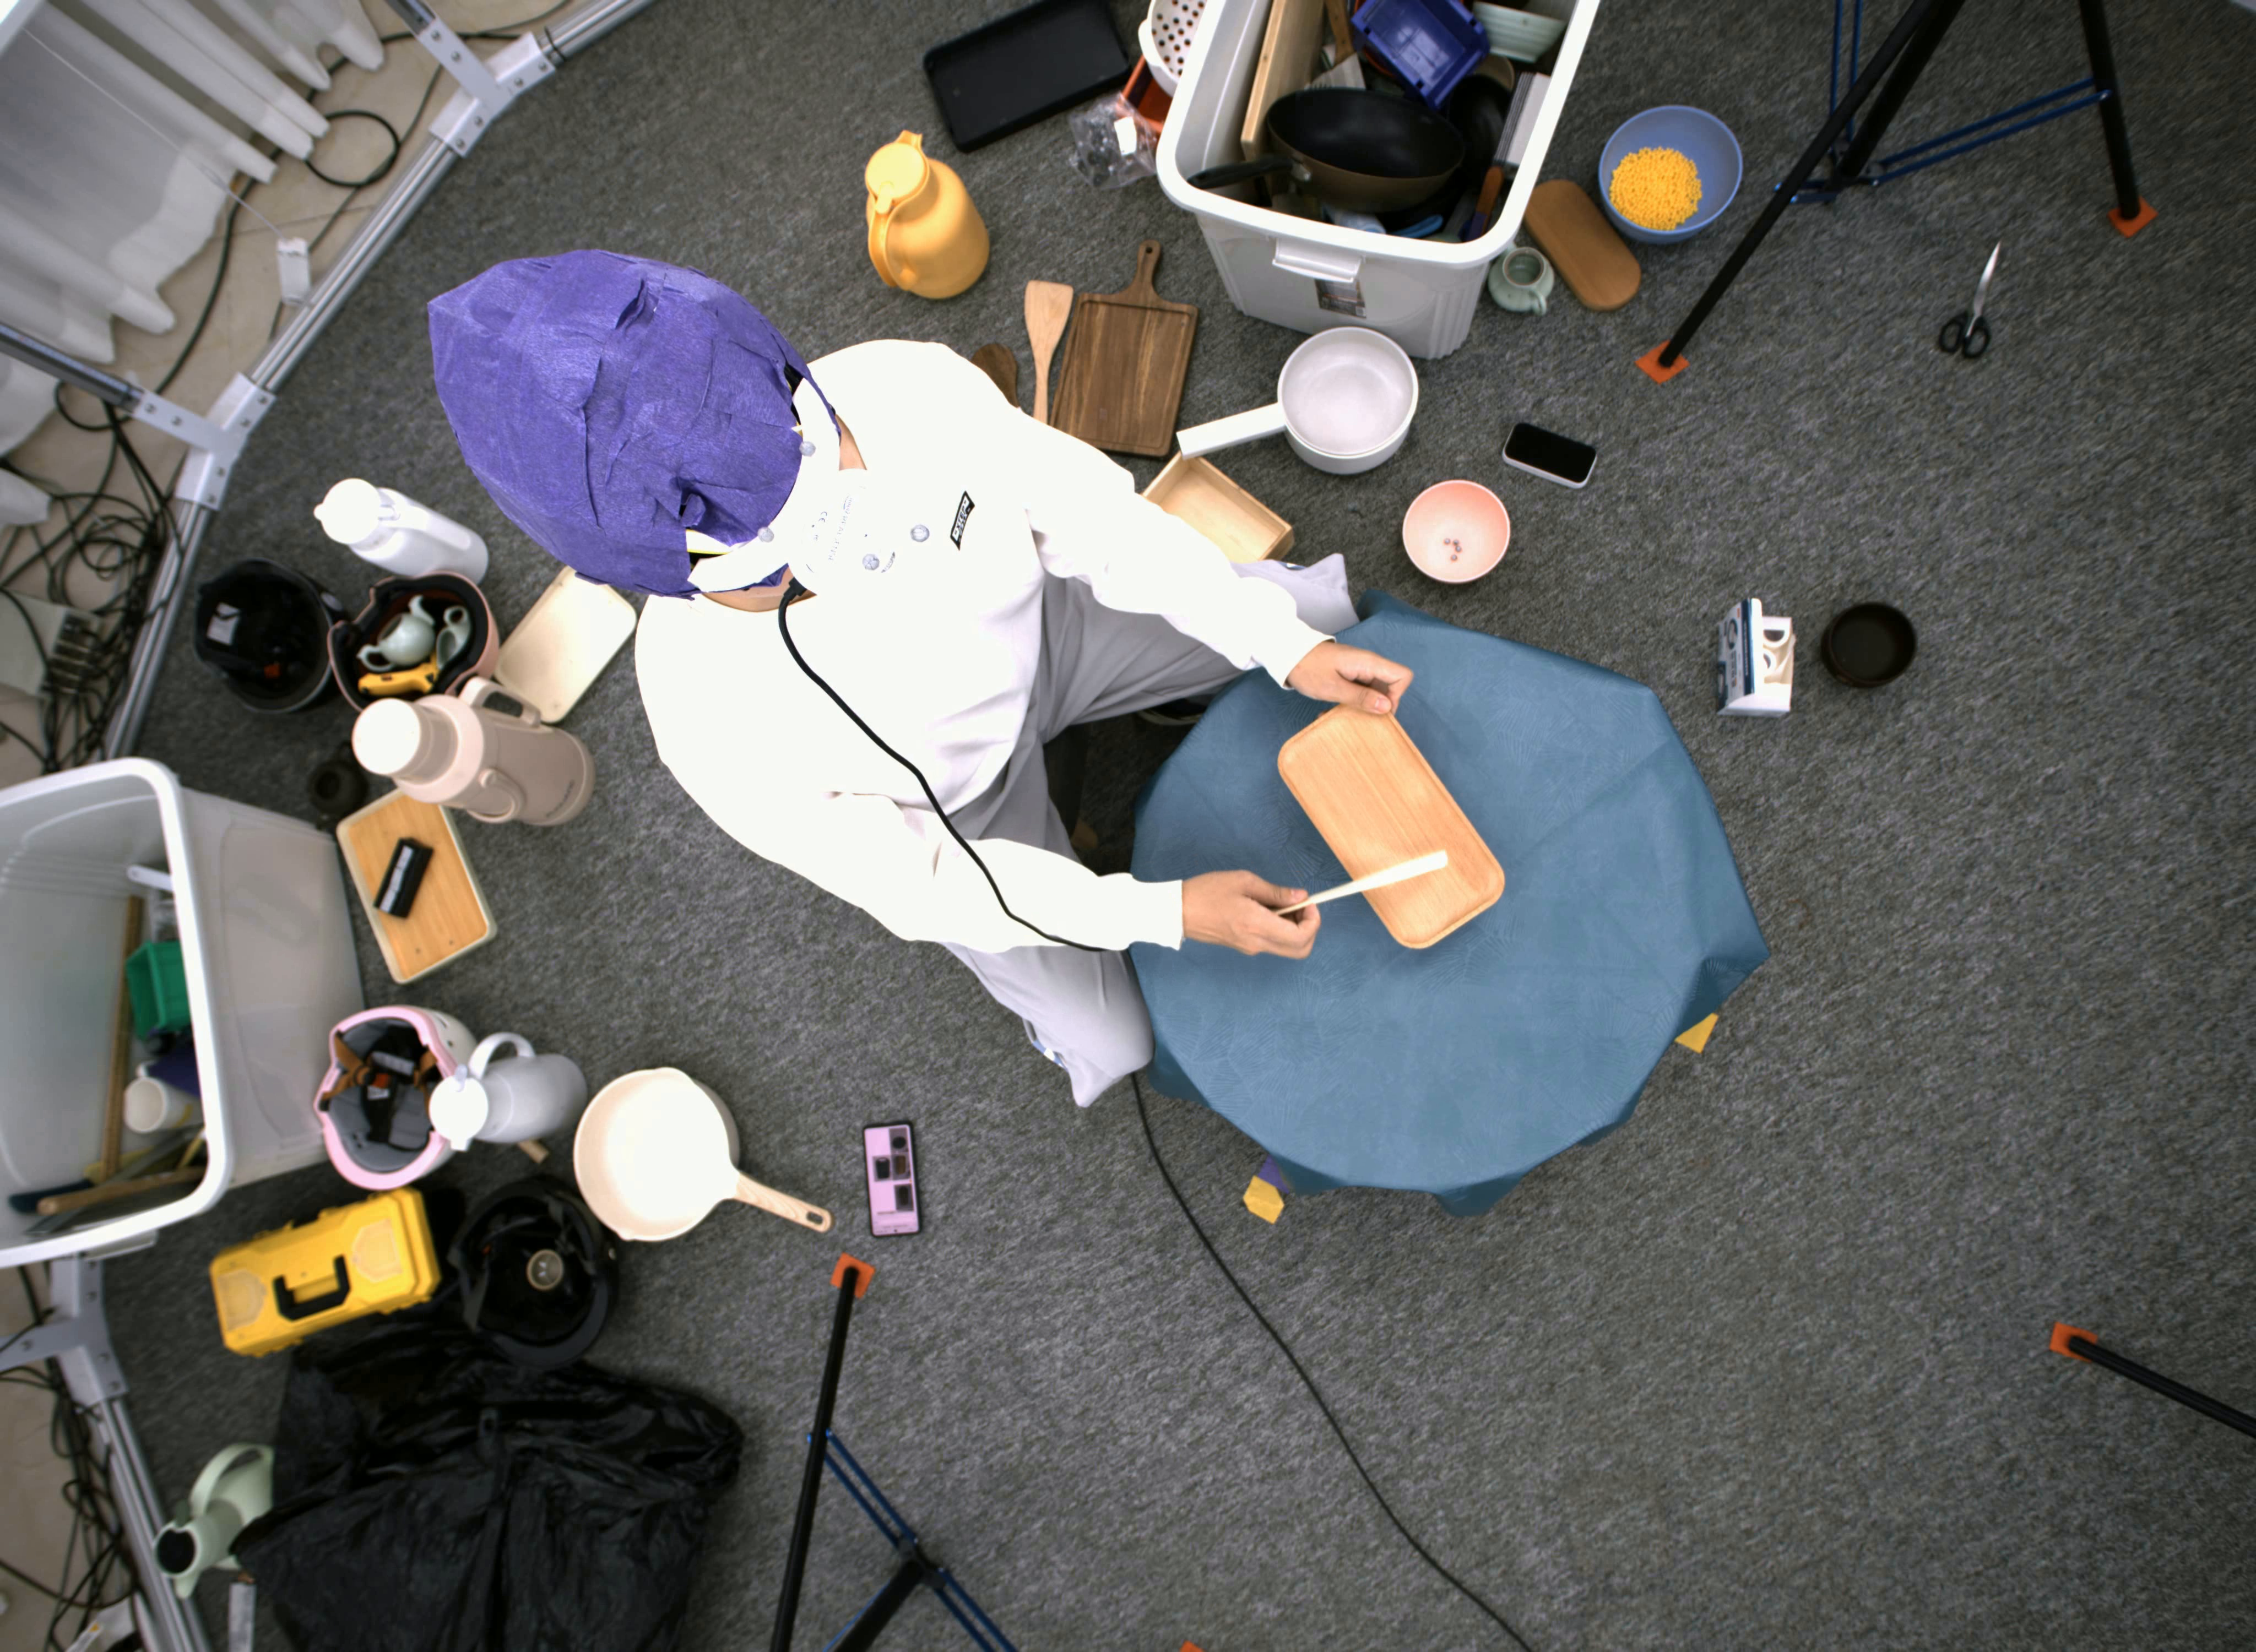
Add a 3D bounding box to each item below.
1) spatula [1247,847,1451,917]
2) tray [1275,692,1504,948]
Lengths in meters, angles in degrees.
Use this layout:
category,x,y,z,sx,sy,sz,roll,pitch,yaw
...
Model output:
category,x,y,z,sx,sy,sz,roll,pitch,yaw
spatula,0.214,0.056,1.348,0.209,0.050,0.005,-19,96,15
tray,0.260,-0.007,1.378,0.131,0.023,0.250,-35,85,10
